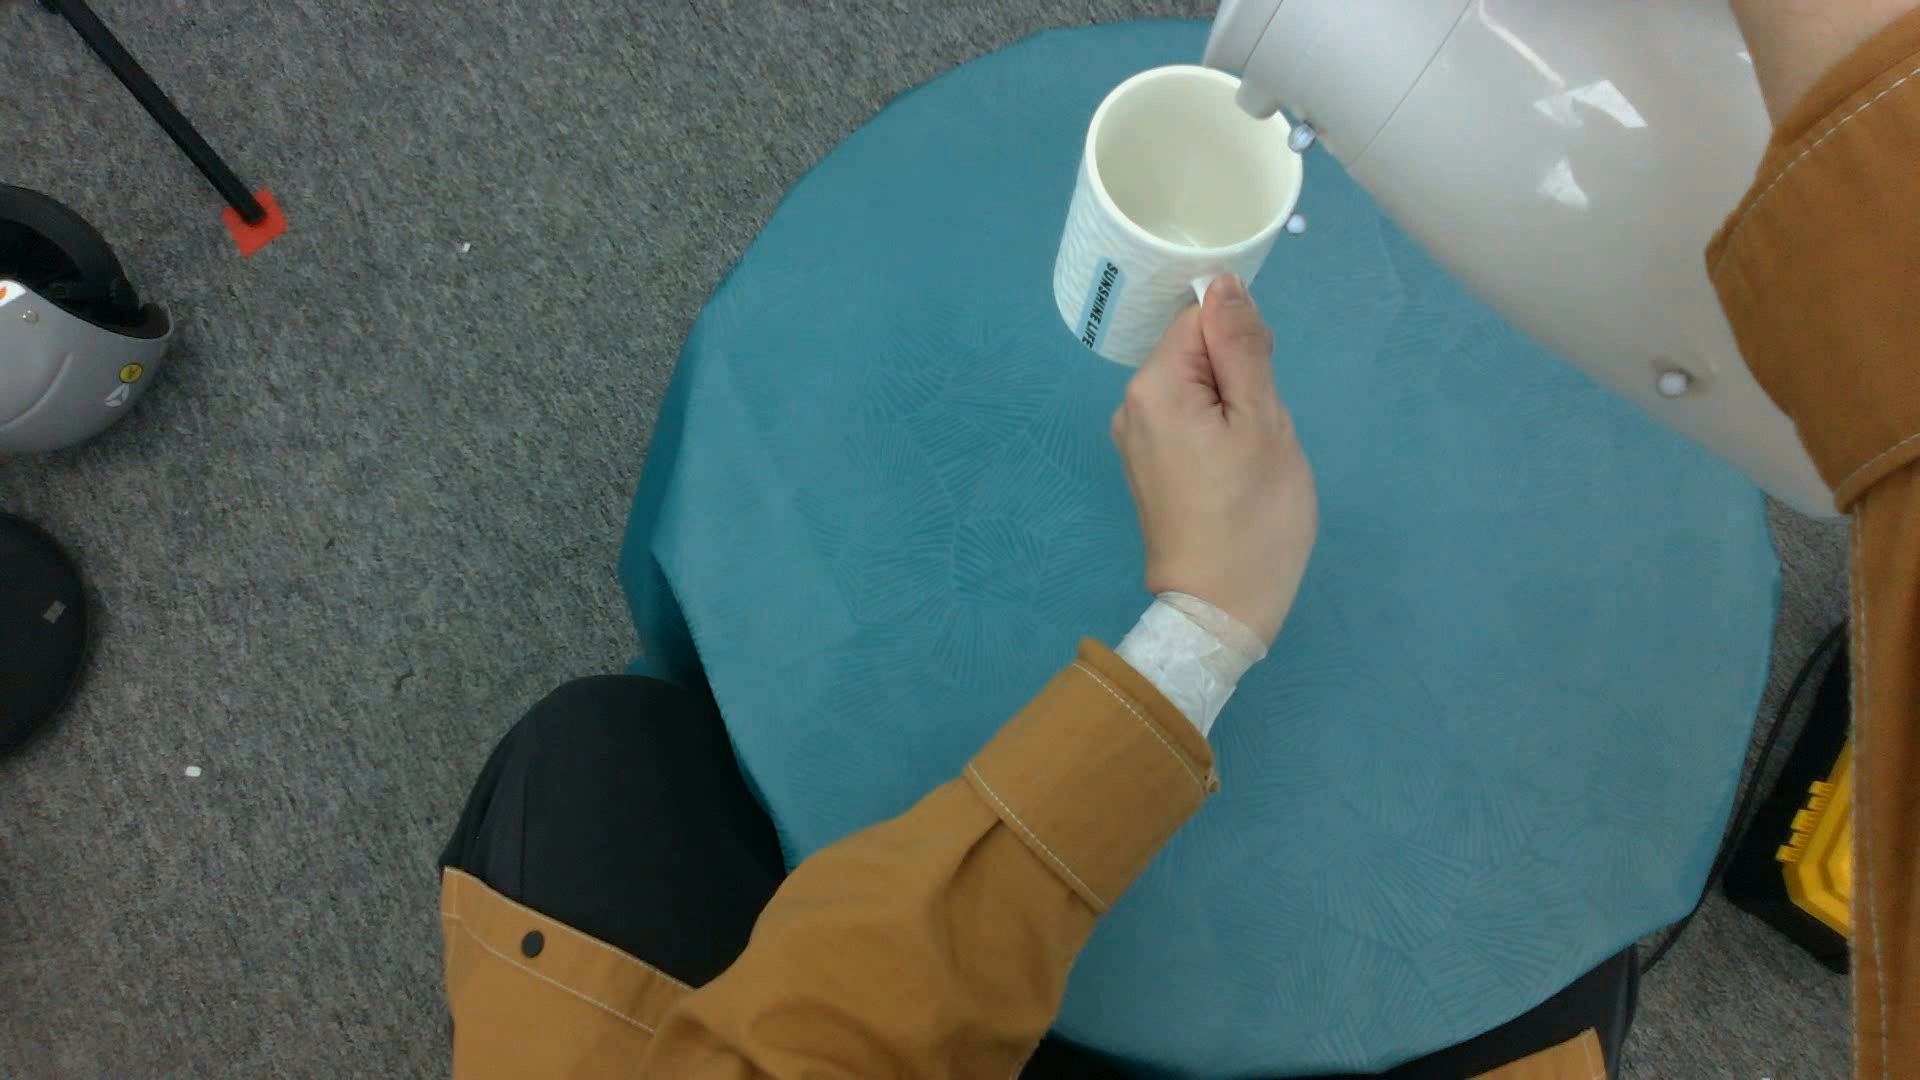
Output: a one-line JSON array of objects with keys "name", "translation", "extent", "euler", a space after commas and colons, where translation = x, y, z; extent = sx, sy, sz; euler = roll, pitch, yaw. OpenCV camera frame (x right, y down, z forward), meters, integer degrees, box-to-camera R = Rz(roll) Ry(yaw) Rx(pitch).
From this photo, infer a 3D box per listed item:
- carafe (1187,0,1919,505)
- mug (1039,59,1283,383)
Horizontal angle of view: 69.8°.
[{"name": "carafe", "translation": [0.199, -0.138, 0.410], "extent": [0.248, 0.167, 0.133], "euler": [32, 63, 1]}, {"name": "mug", "translation": [0.085, -0.121, 0.579], "extent": [0.085, 0.101, 0.118], "euler": [-12, 71, -10]}]
